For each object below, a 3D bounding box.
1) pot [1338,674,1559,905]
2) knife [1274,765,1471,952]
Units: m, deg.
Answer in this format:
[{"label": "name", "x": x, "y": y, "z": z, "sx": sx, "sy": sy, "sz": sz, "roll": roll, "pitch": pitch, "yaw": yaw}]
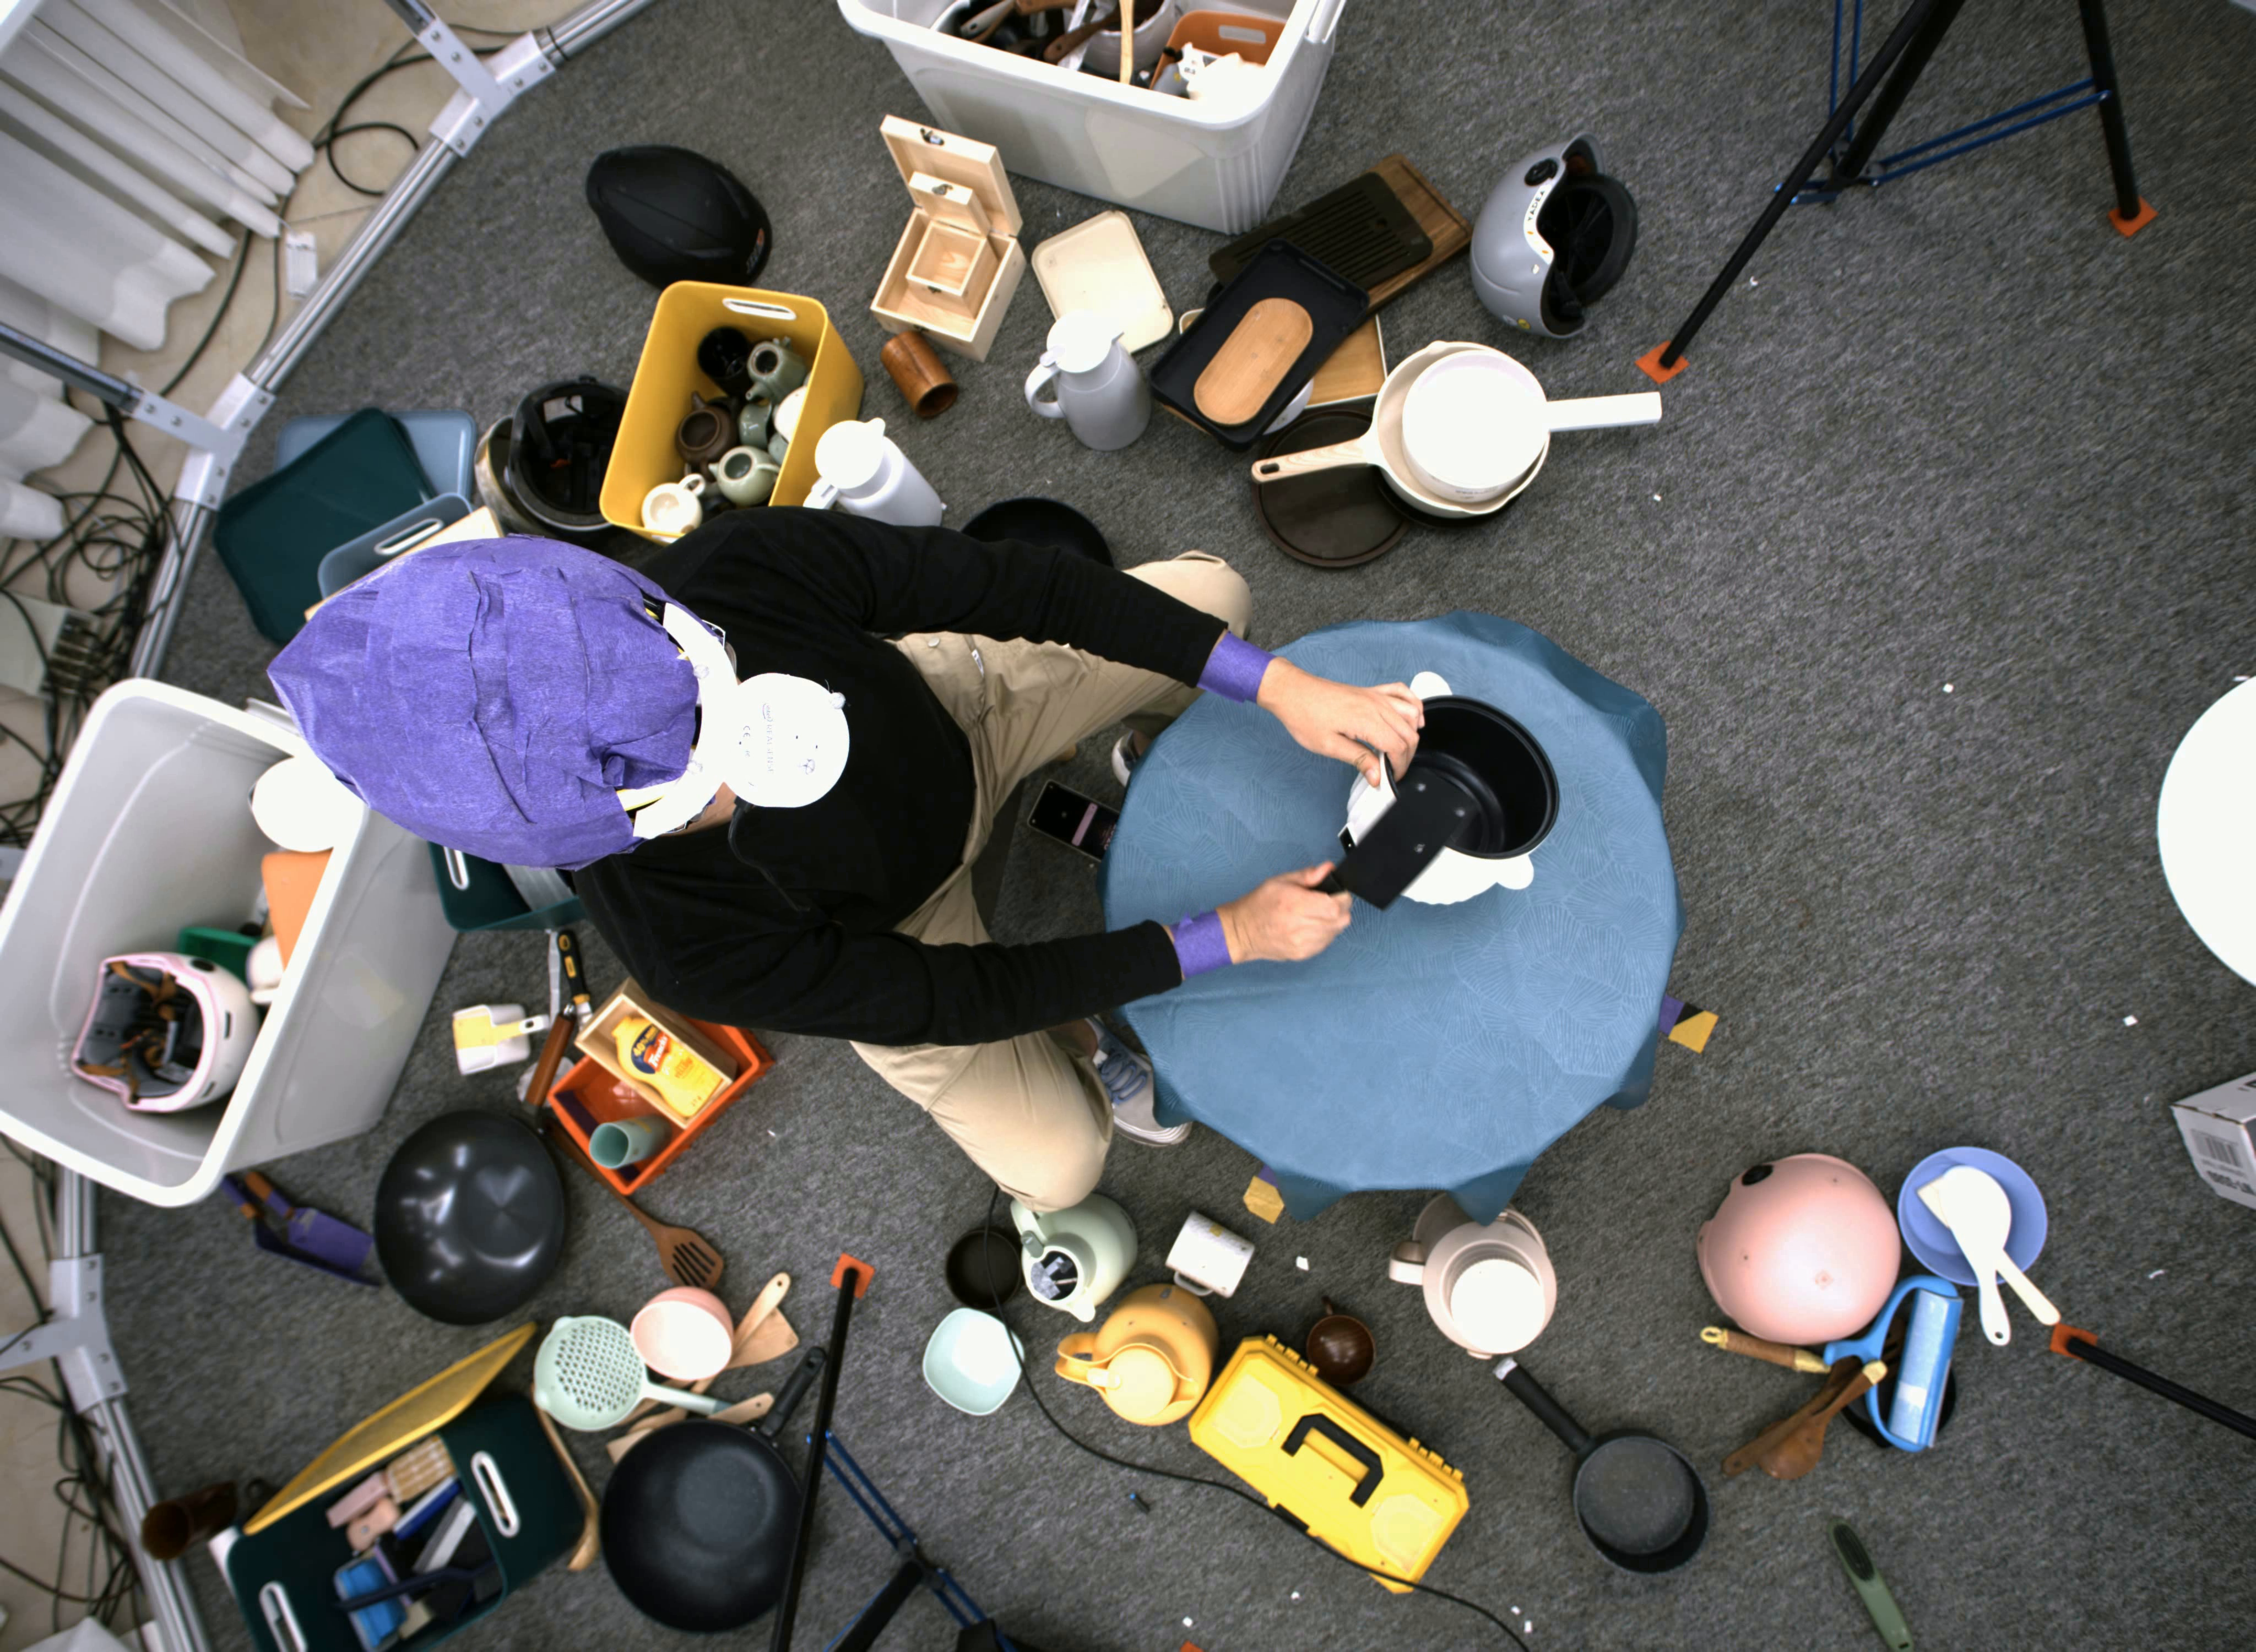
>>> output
[{"label": "pot", "x": 0.317, "y": -0.021, "z": 1.364, "sx": 0.189, "sy": 0.146, "sz": 0.236, "roll": -12, "pitch": 68, "yaw": -17}, {"label": "knife", "x": 0.221, "y": 0.041, "z": 1.309, "sx": 0.081, "sy": 0.310, "sz": 0.020, "roll": 33, "pitch": 50, "yaw": -4}]
